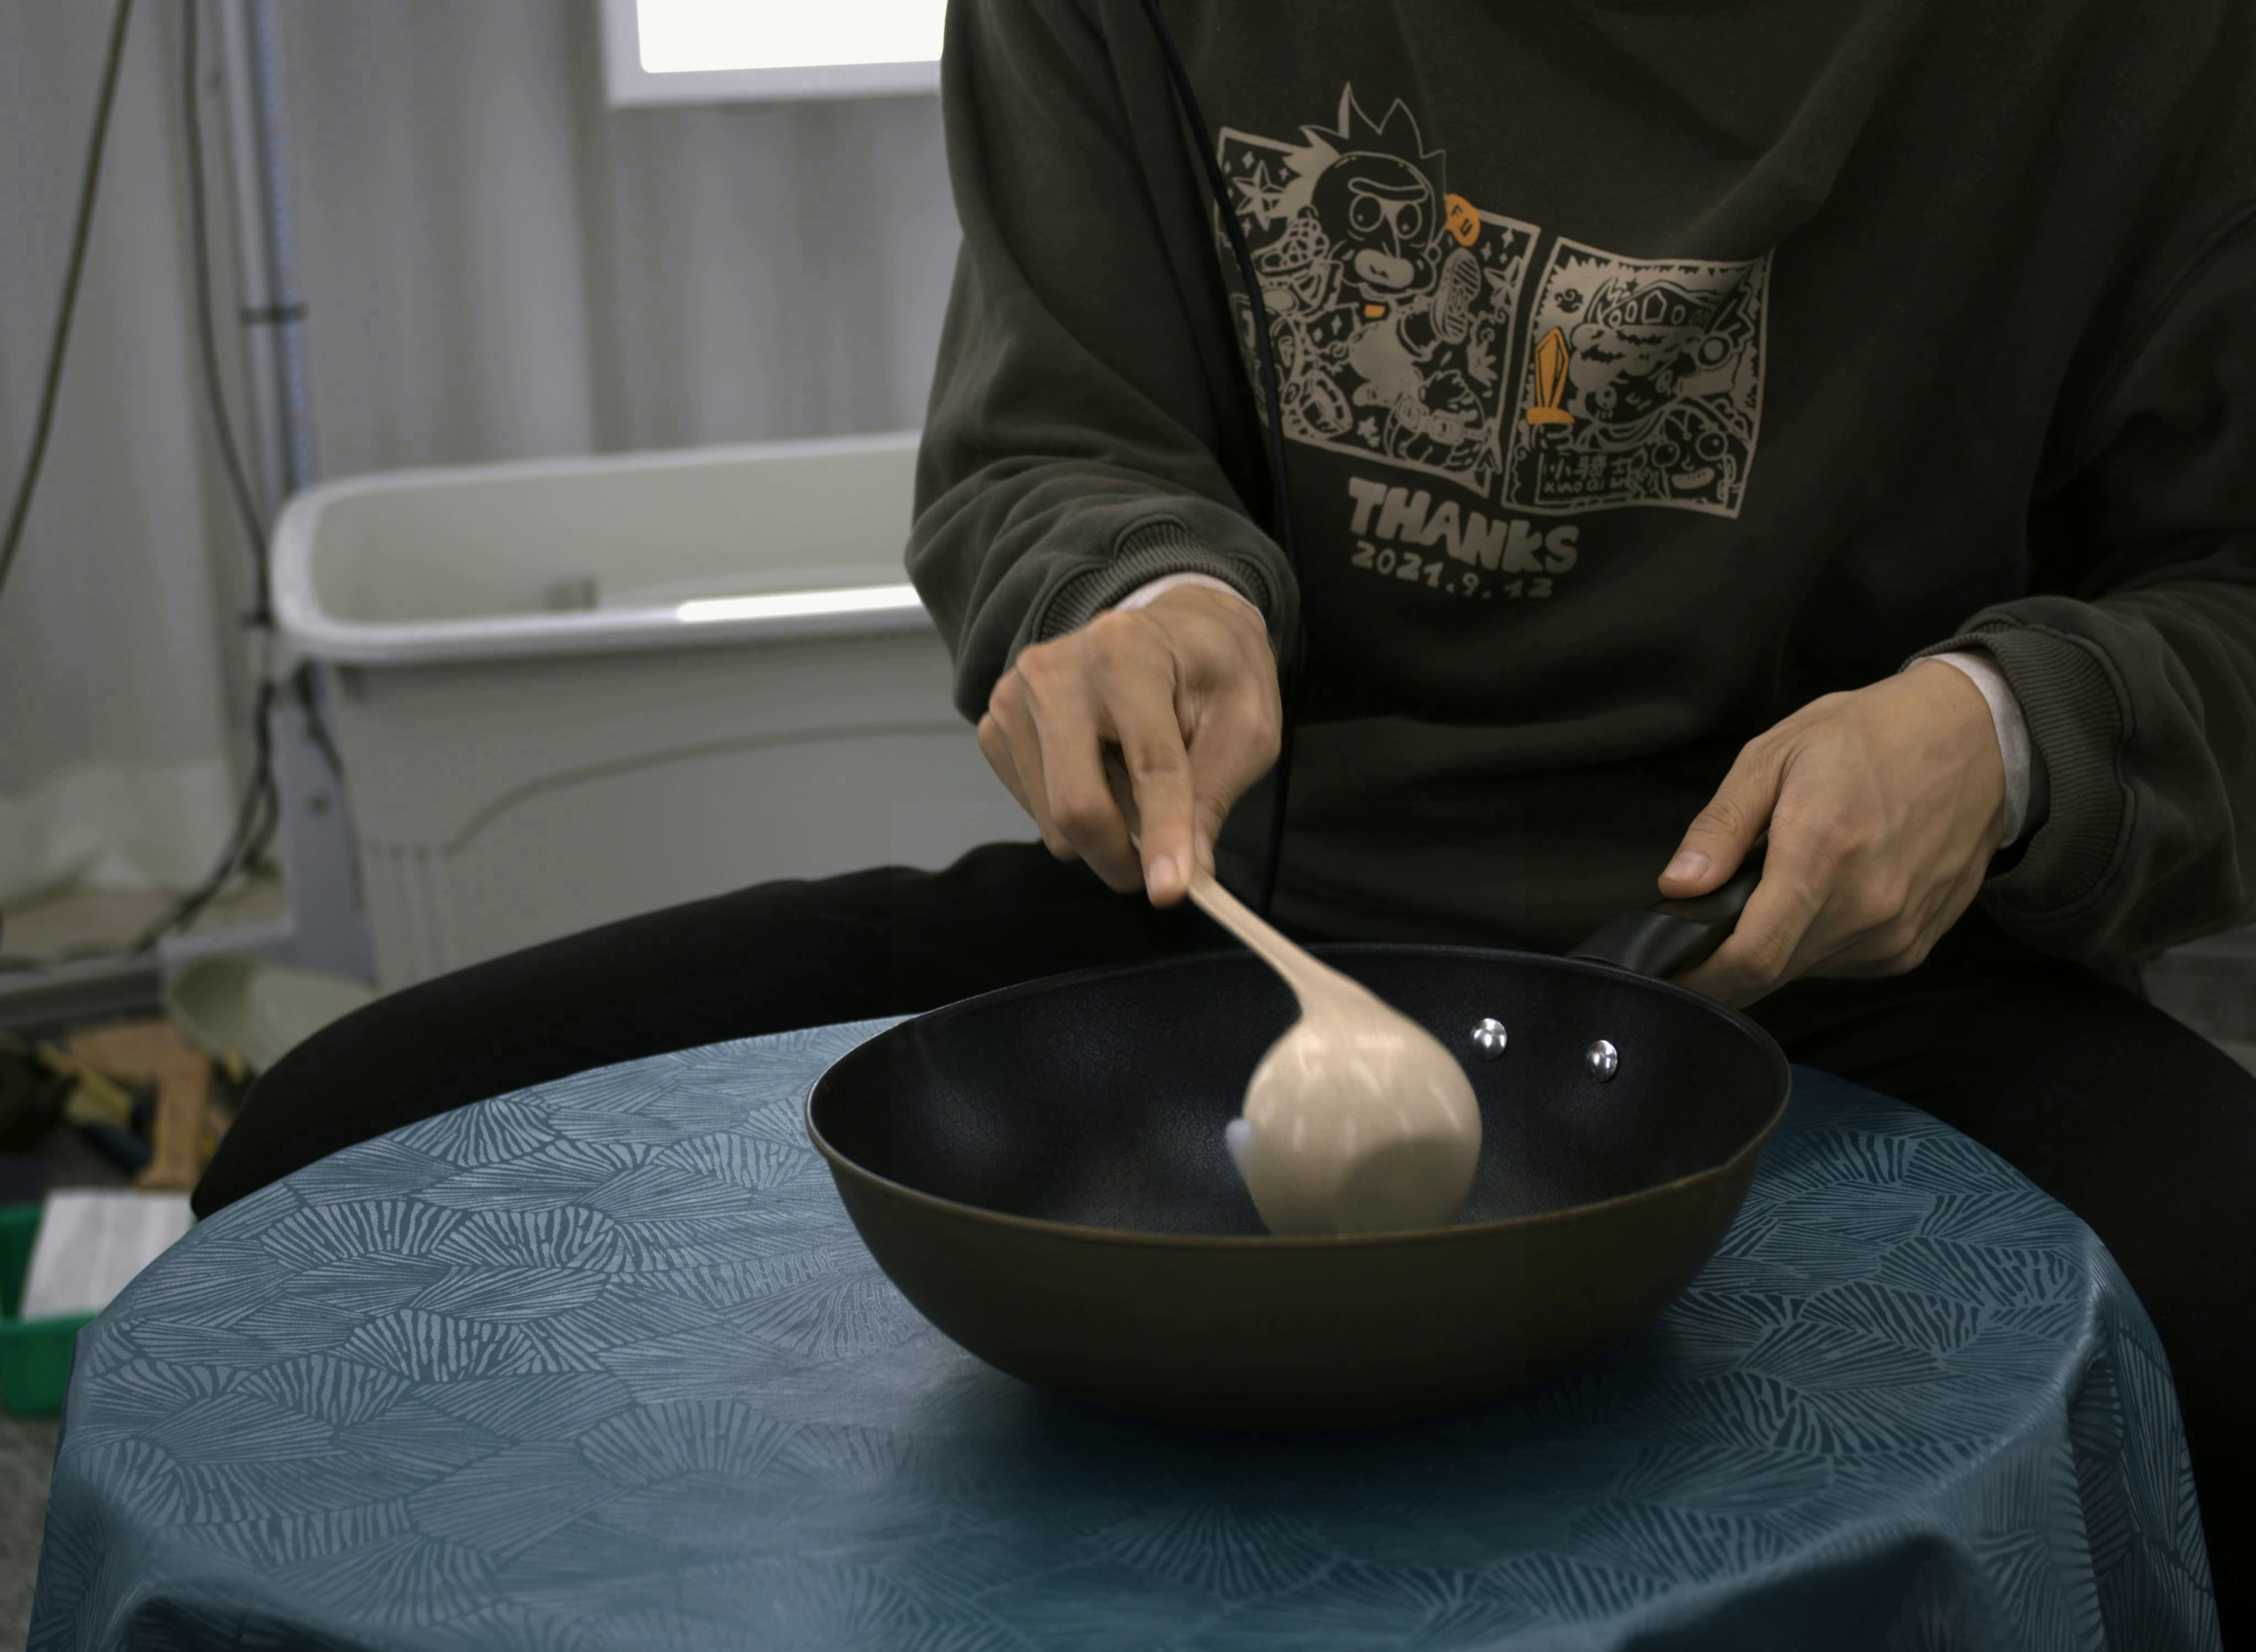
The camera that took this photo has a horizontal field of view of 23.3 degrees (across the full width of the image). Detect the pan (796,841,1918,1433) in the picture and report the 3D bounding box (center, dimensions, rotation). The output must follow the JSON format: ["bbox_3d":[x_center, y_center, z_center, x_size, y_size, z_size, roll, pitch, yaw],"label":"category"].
[{"bbox_3d":[0.103,0.090,1.639,0.289,0.086,0.463,9,18,37],"label":"pan"}]

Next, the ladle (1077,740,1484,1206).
[{"bbox_3d":[0.030,0.056,1.627,0.072,0.072,0.257,-1,23,-22],"label":"ladle"}]
